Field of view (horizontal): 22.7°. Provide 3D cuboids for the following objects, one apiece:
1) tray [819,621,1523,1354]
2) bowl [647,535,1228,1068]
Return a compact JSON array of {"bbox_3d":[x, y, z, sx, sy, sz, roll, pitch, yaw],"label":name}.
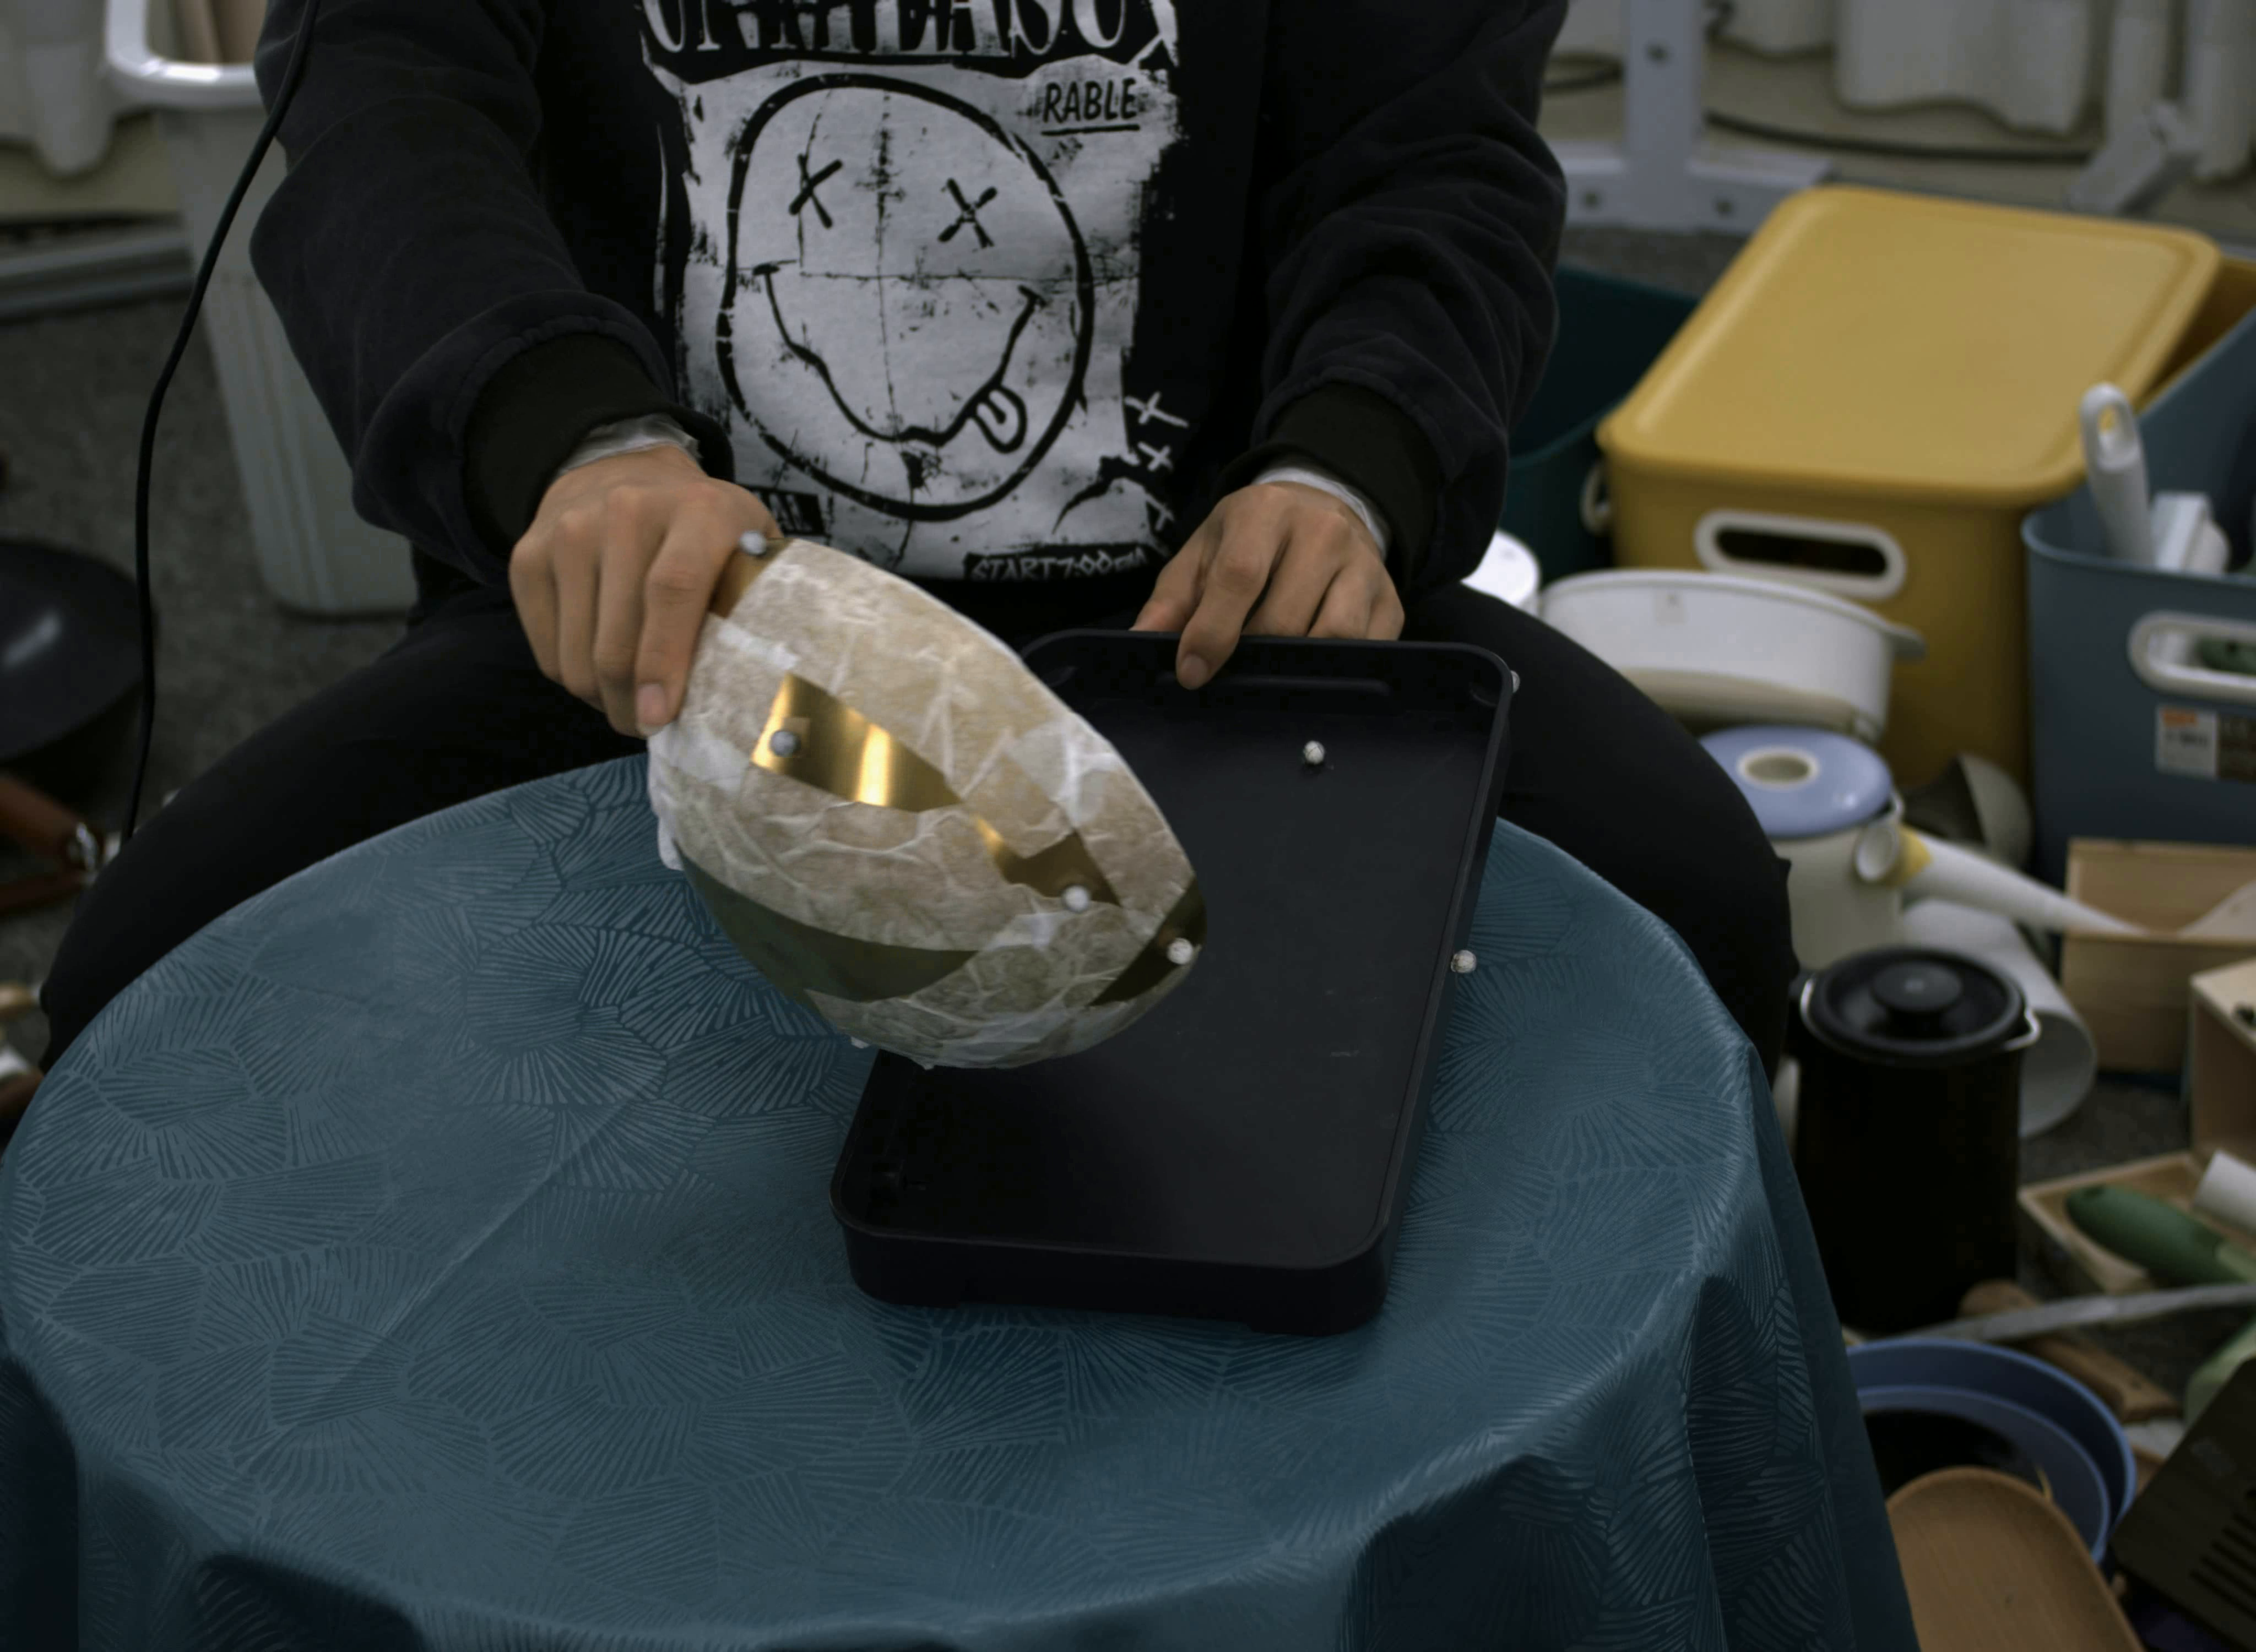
[{"bbox_3d":[0.021,0.048,1.902,0.183,0.036,0.324,5,41,13],"label":"tray"},{"bbox_3d":[-0.080,0.012,1.794,0.214,0.212,0.096,22,64,40],"label":"bowl"}]
